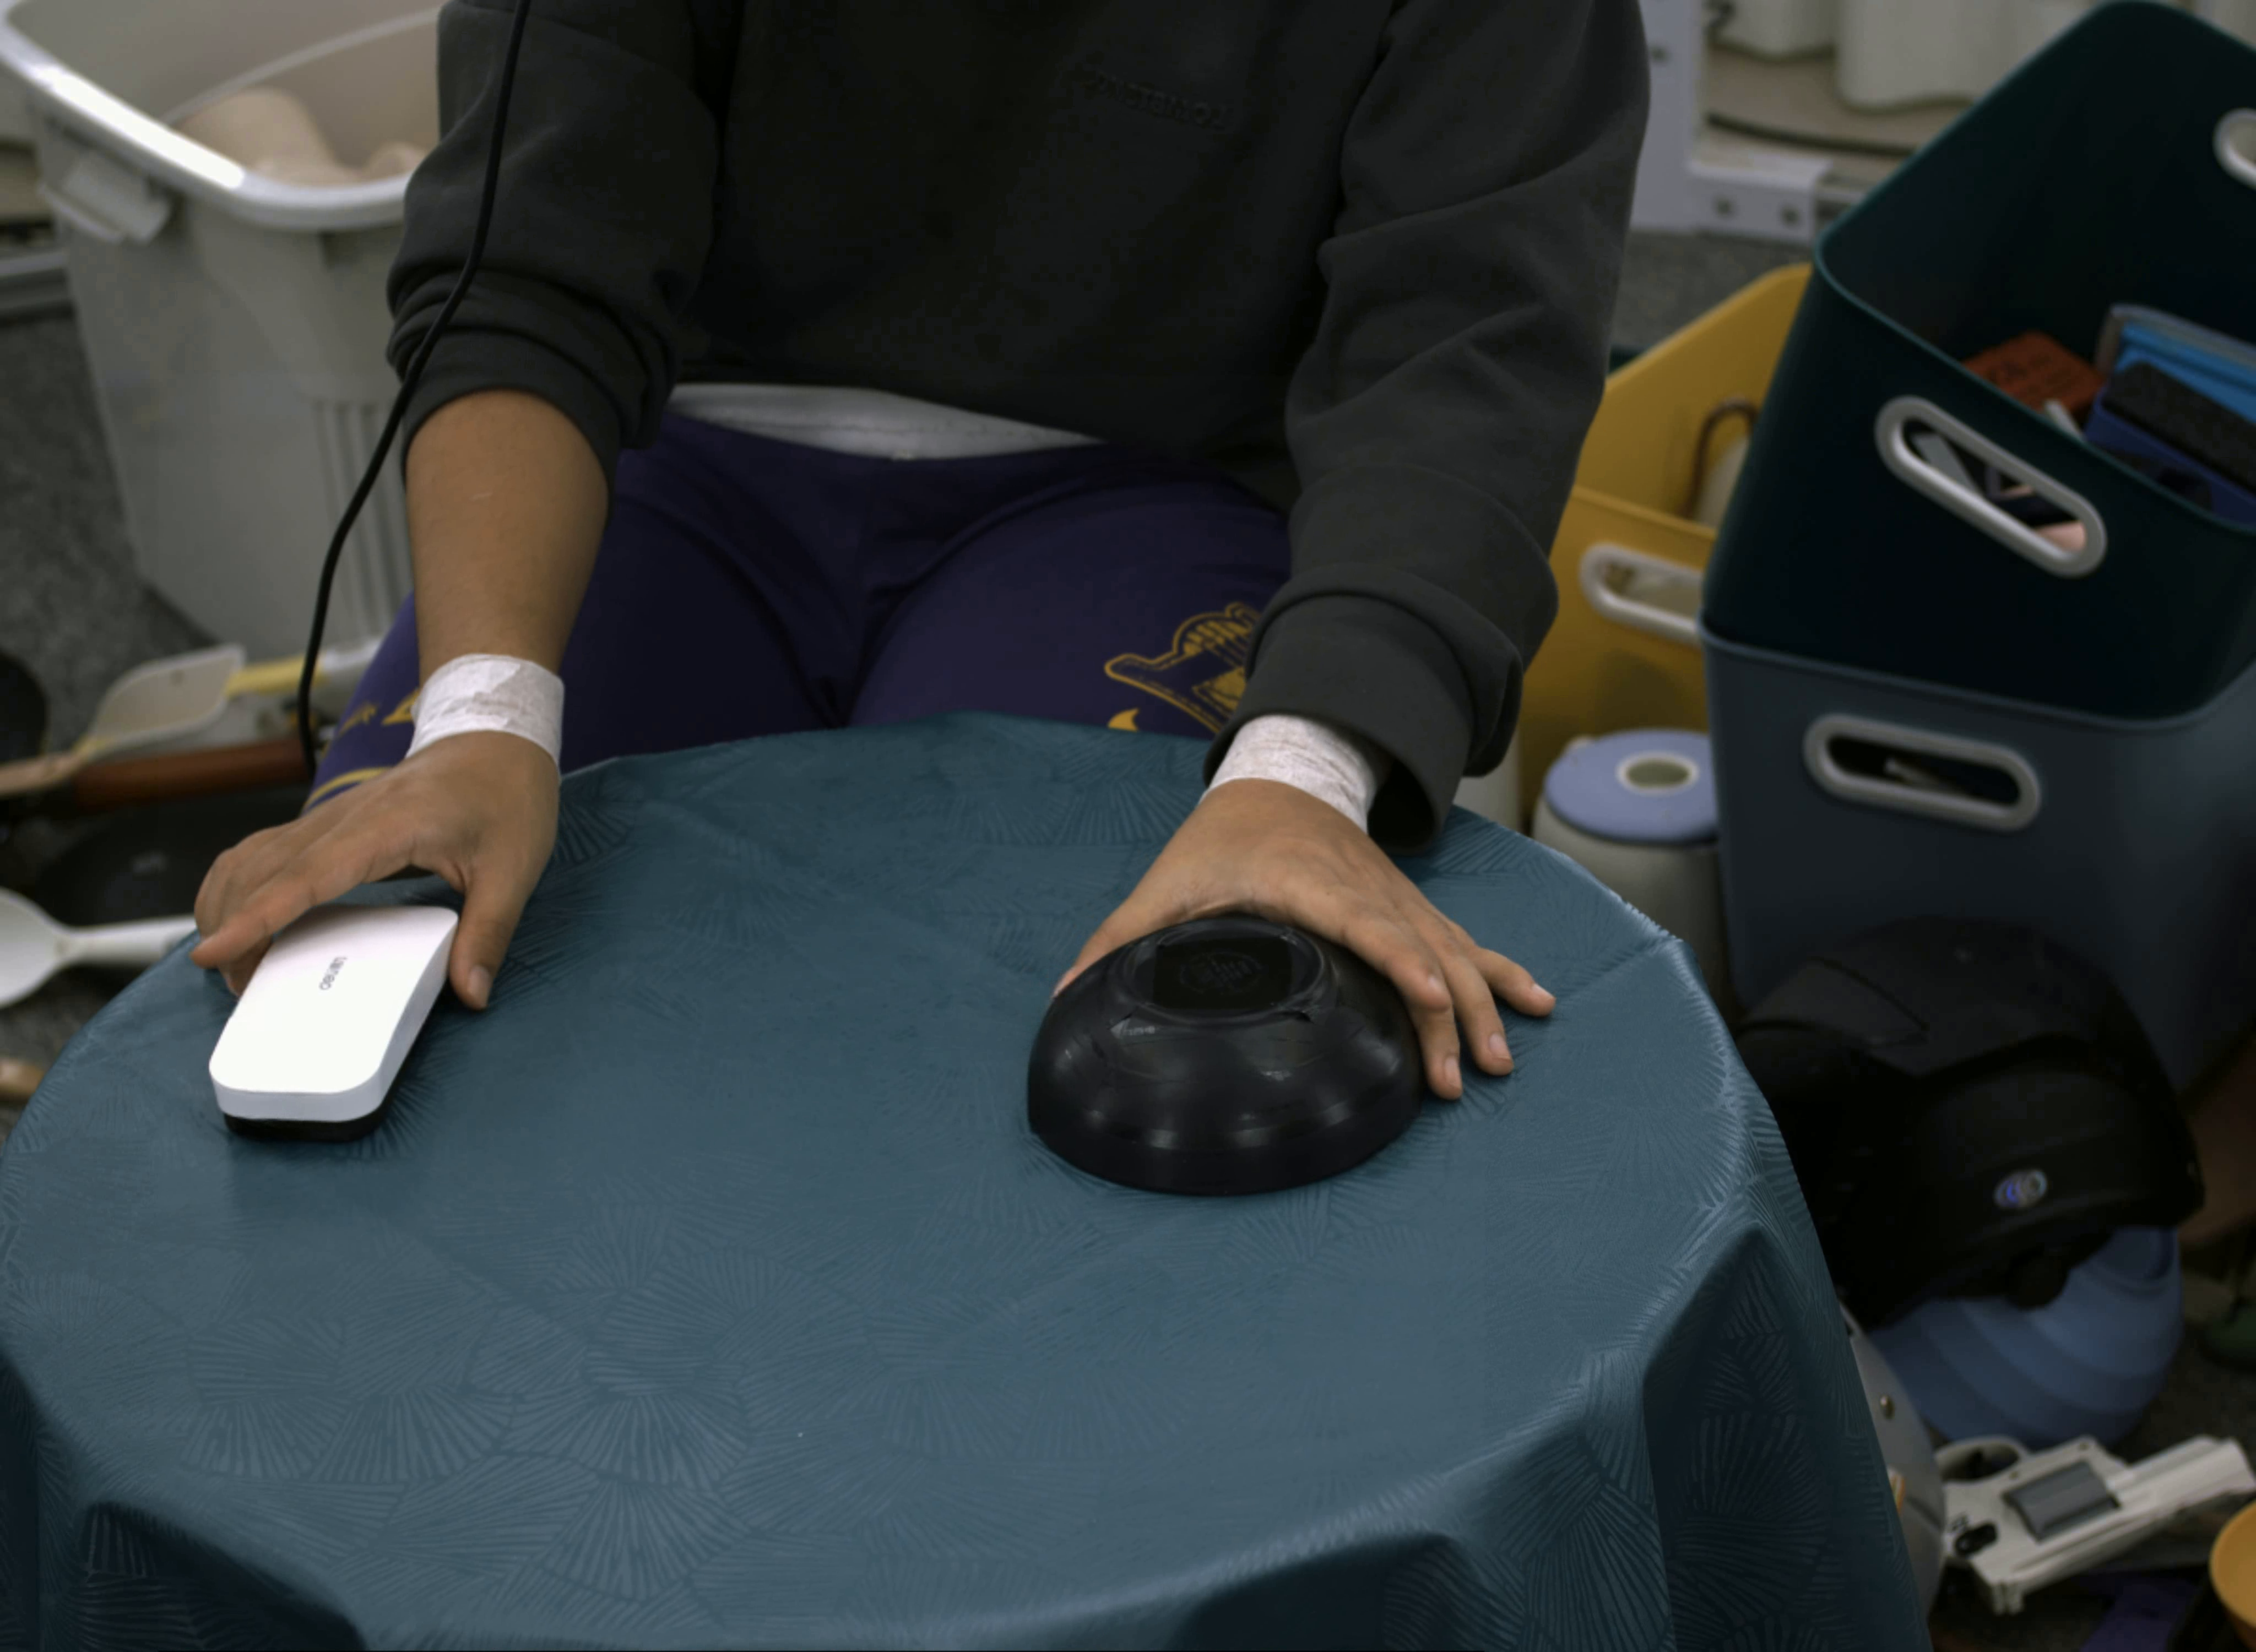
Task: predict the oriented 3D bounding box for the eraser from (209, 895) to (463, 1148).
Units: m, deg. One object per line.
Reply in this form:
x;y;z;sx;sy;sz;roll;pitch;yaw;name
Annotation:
-0.274;0.065;1.963;0.063;0.034;0.133;4;30;10;eraser

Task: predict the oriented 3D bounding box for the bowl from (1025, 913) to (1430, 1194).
0.032;0.068;1.907;0.139;0.049;0.142;-3;28;2;bowl
